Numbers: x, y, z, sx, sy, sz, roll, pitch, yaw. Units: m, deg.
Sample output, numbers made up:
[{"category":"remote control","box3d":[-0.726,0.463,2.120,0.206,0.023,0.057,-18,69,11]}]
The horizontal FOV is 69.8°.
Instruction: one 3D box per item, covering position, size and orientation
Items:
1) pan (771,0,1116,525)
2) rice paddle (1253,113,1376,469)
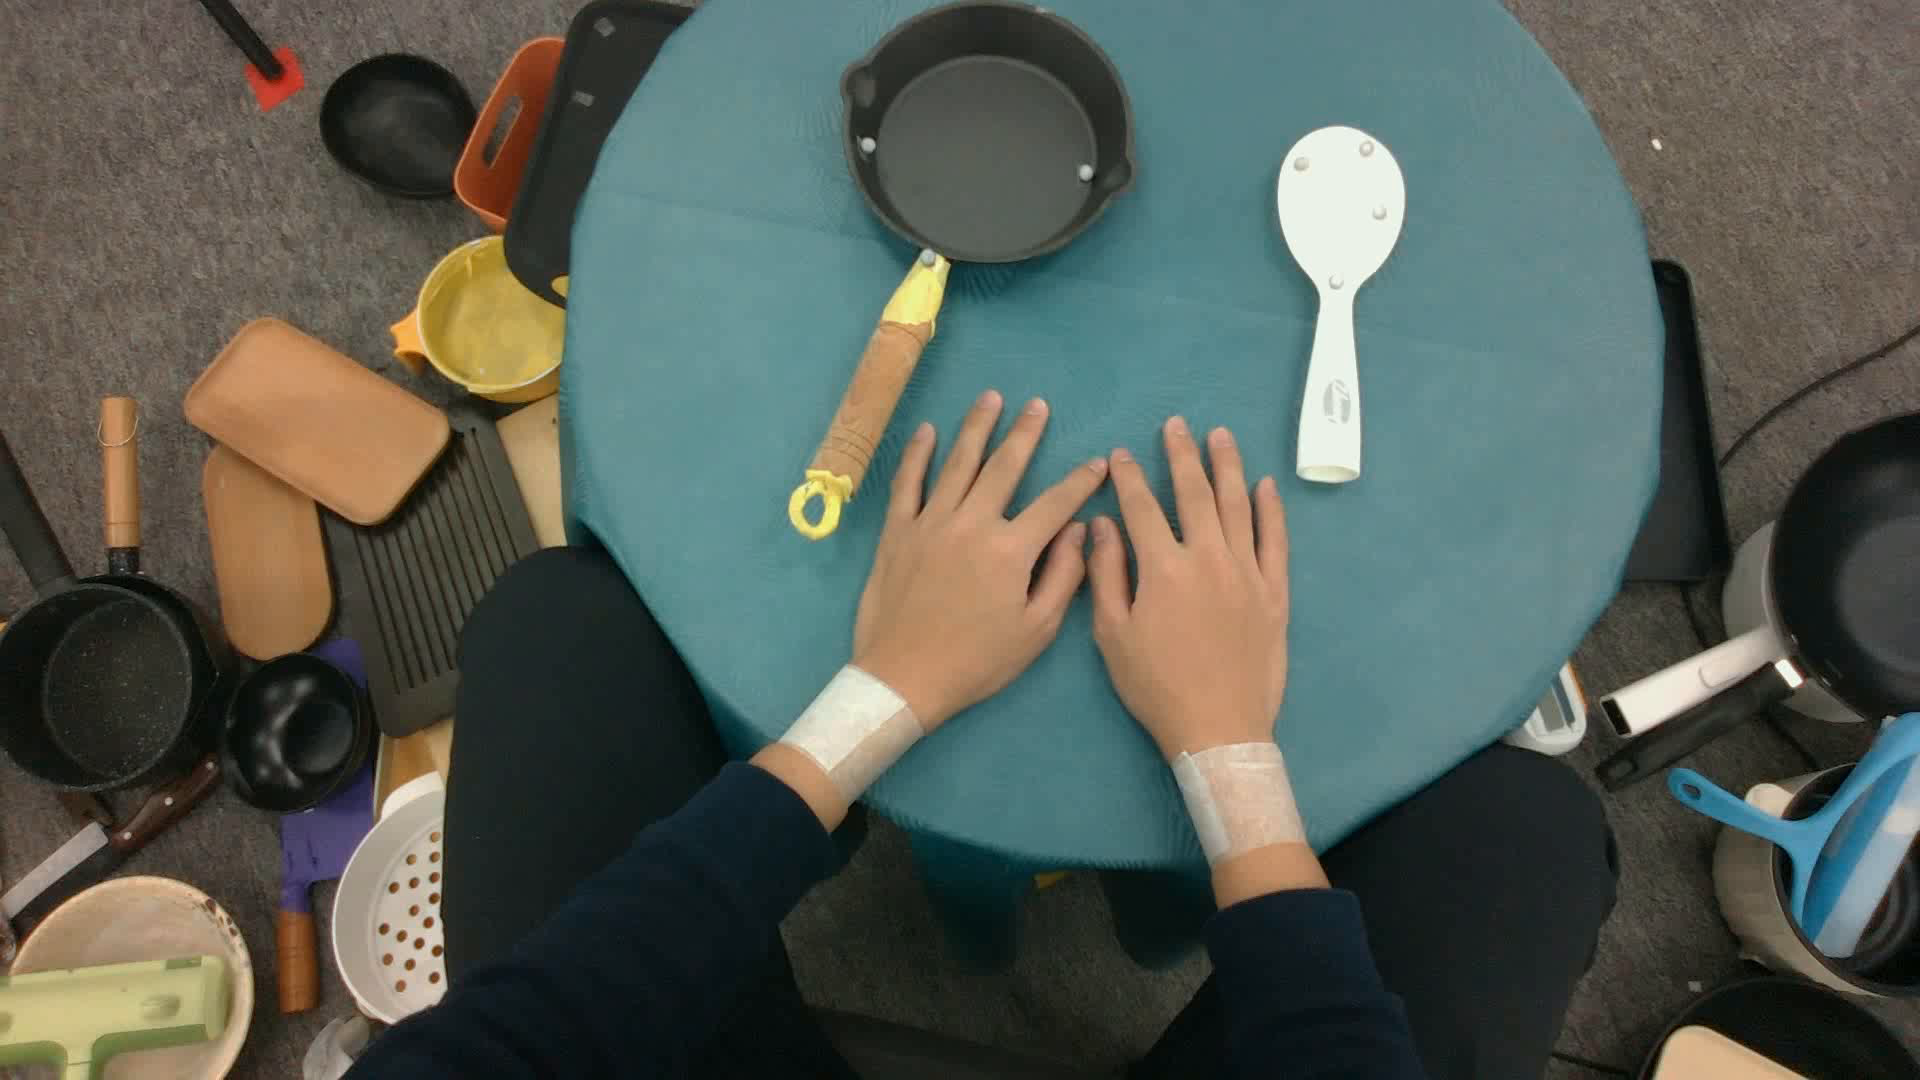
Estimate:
[{"category":"pan","box3d":[-0.028,-0.152,0.728,0.169,0.049,0.325,22,75,4]},{"category":"rice paddle","box3d":[0.191,-0.140,0.742,0.069,0.029,0.205,5,76,-2]}]
